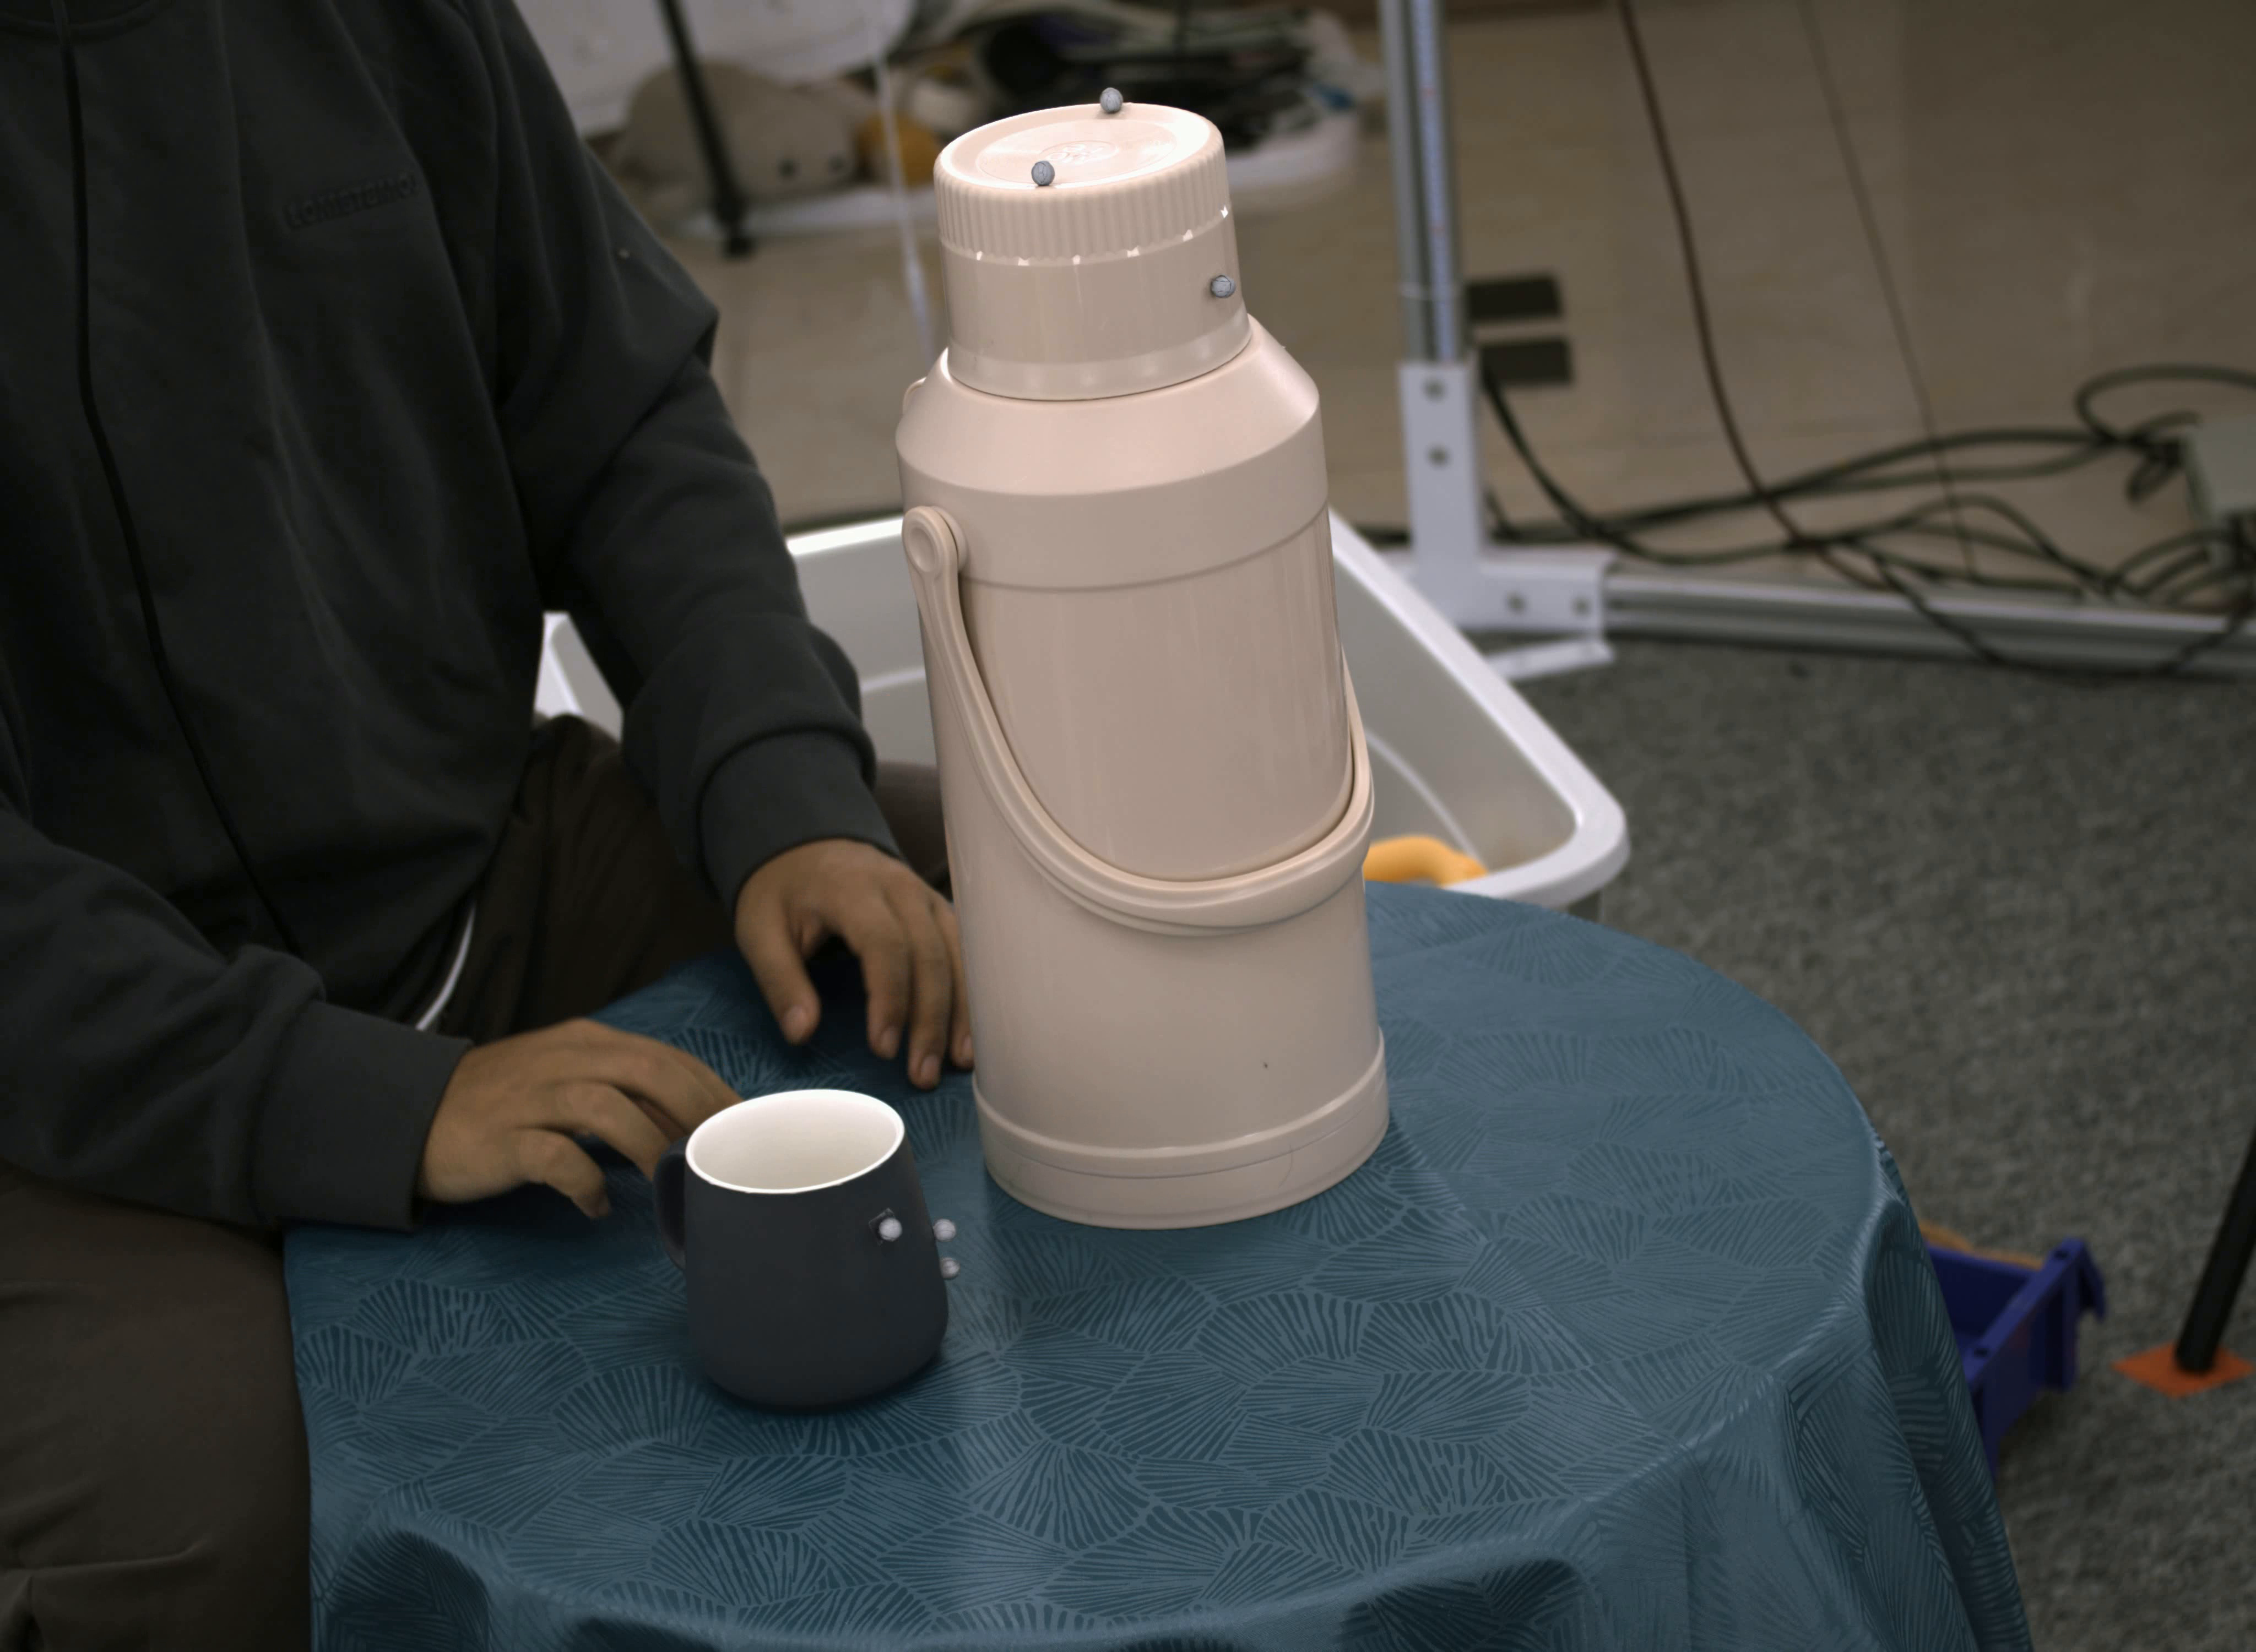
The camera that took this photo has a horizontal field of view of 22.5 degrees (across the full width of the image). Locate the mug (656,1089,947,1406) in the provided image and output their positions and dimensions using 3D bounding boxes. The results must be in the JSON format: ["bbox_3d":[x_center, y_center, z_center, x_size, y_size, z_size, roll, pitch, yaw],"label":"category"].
[{"bbox_3d":[-0.125,0.148,2.047,0.122,0.091,0.093,18,34,42],"label":"mug"}]

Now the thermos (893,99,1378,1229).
[{"bbox_3d":[-0.007,-0.065,2.112,0.174,0.413,0.205,-24,31,-32],"label":"thermos"}]
